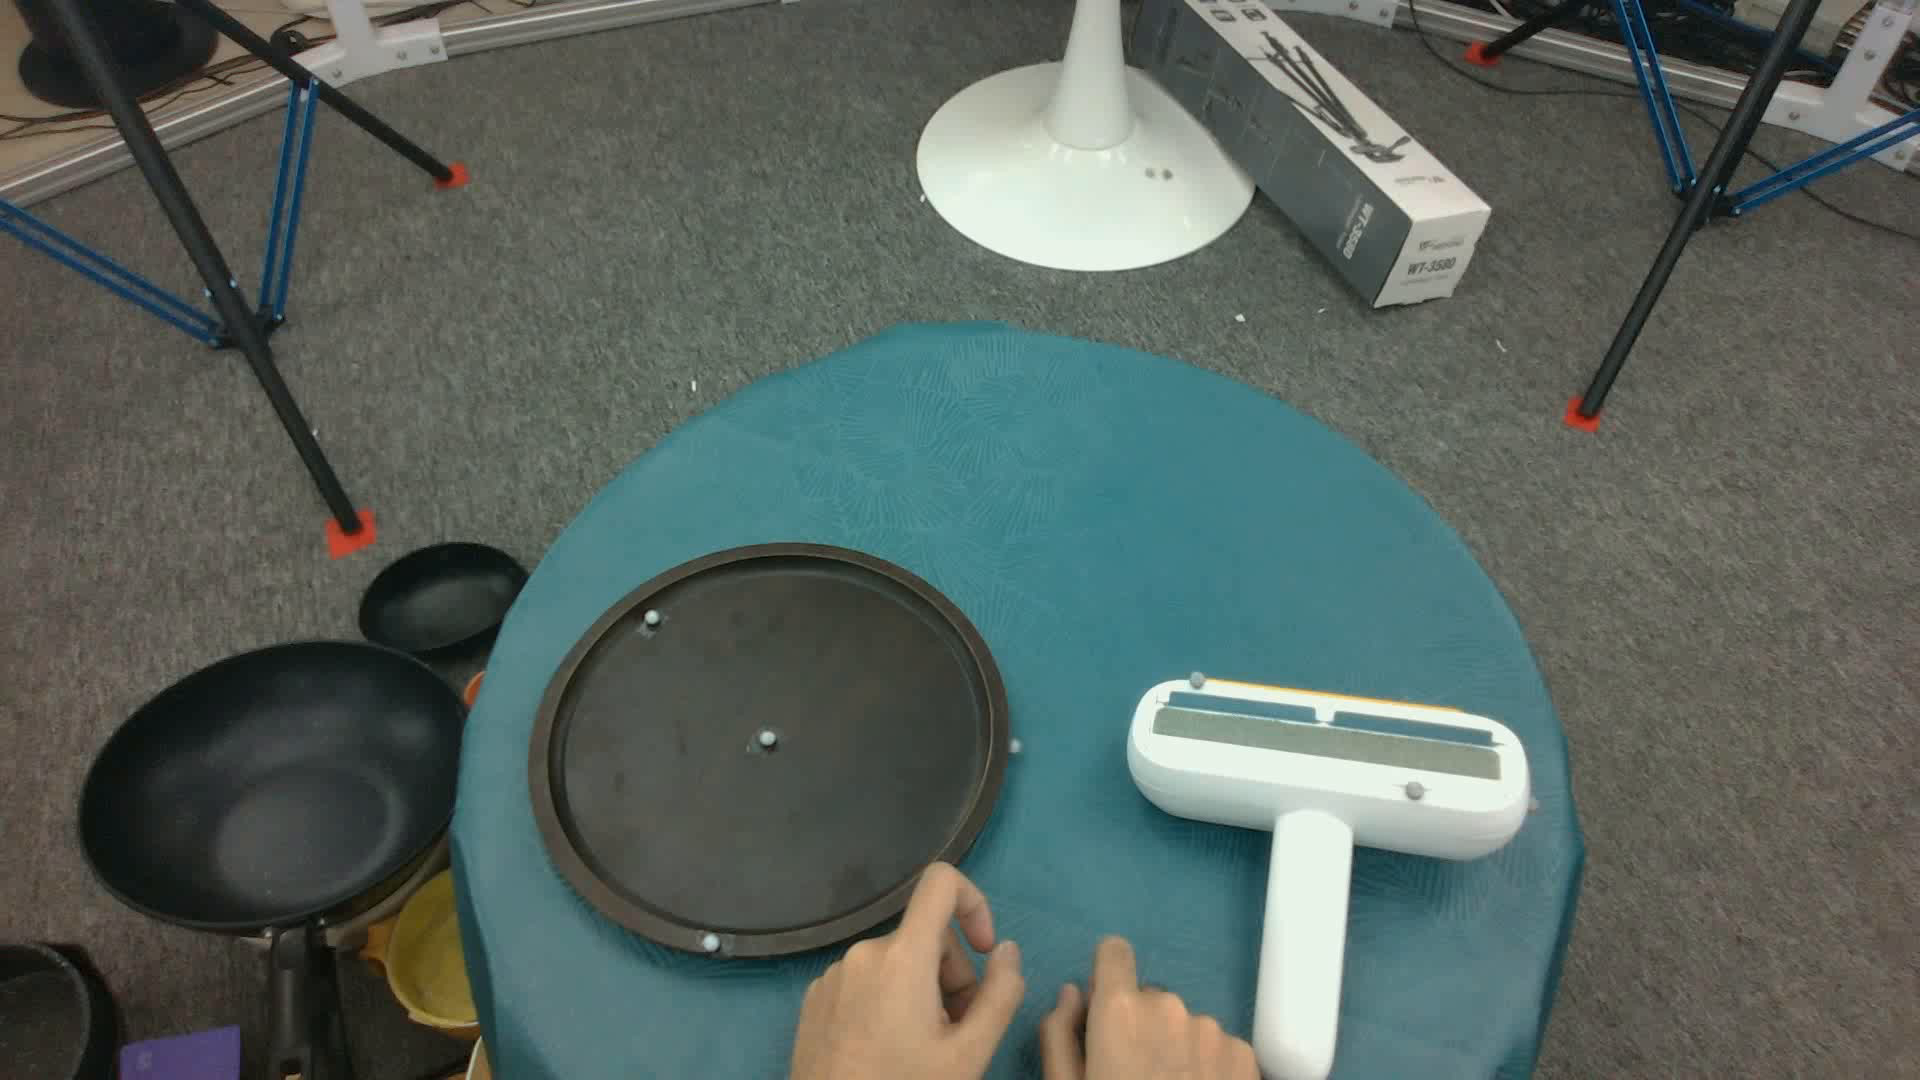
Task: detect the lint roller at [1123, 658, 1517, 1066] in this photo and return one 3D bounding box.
[{"bbox_3d":[0.162,0.155,0.671,0.193,0.074,0.193,12,53,14],"label":"lint roller"}]

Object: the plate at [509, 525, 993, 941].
[{"bbox_3d":[-0.110,0.094,0.738,0.255,0.029,0.256,1,52,-2],"label":"plate"}]
